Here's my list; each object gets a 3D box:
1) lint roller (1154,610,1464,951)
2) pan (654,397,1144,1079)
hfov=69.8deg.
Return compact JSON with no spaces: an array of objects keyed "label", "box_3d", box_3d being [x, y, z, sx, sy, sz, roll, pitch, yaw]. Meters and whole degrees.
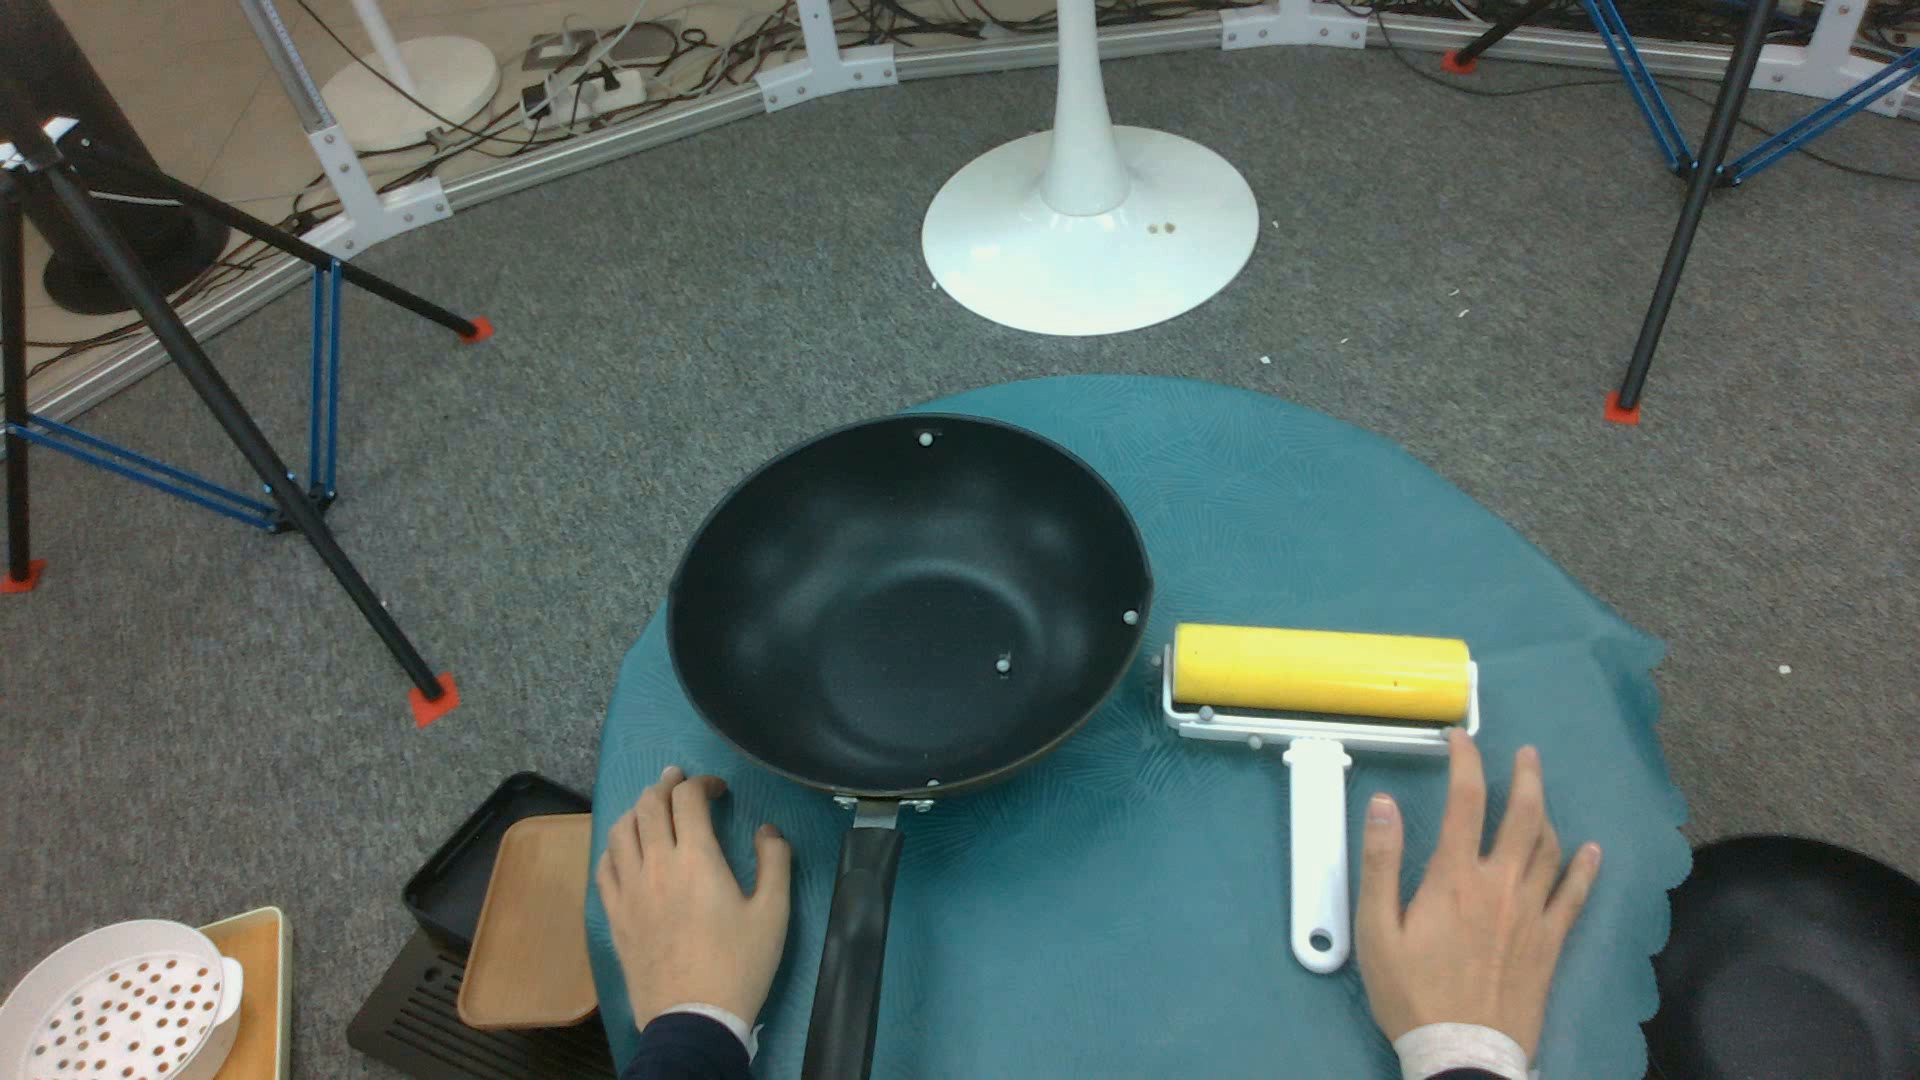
[{"label":"lint roller","box_3d":[0.191,0.124,0.754,0.174,0.051,0.193,2,50,9]},{"label":"pan","box_3d":[-0.042,0.112,0.768,0.288,0.086,0.465,0,51,7]}]
